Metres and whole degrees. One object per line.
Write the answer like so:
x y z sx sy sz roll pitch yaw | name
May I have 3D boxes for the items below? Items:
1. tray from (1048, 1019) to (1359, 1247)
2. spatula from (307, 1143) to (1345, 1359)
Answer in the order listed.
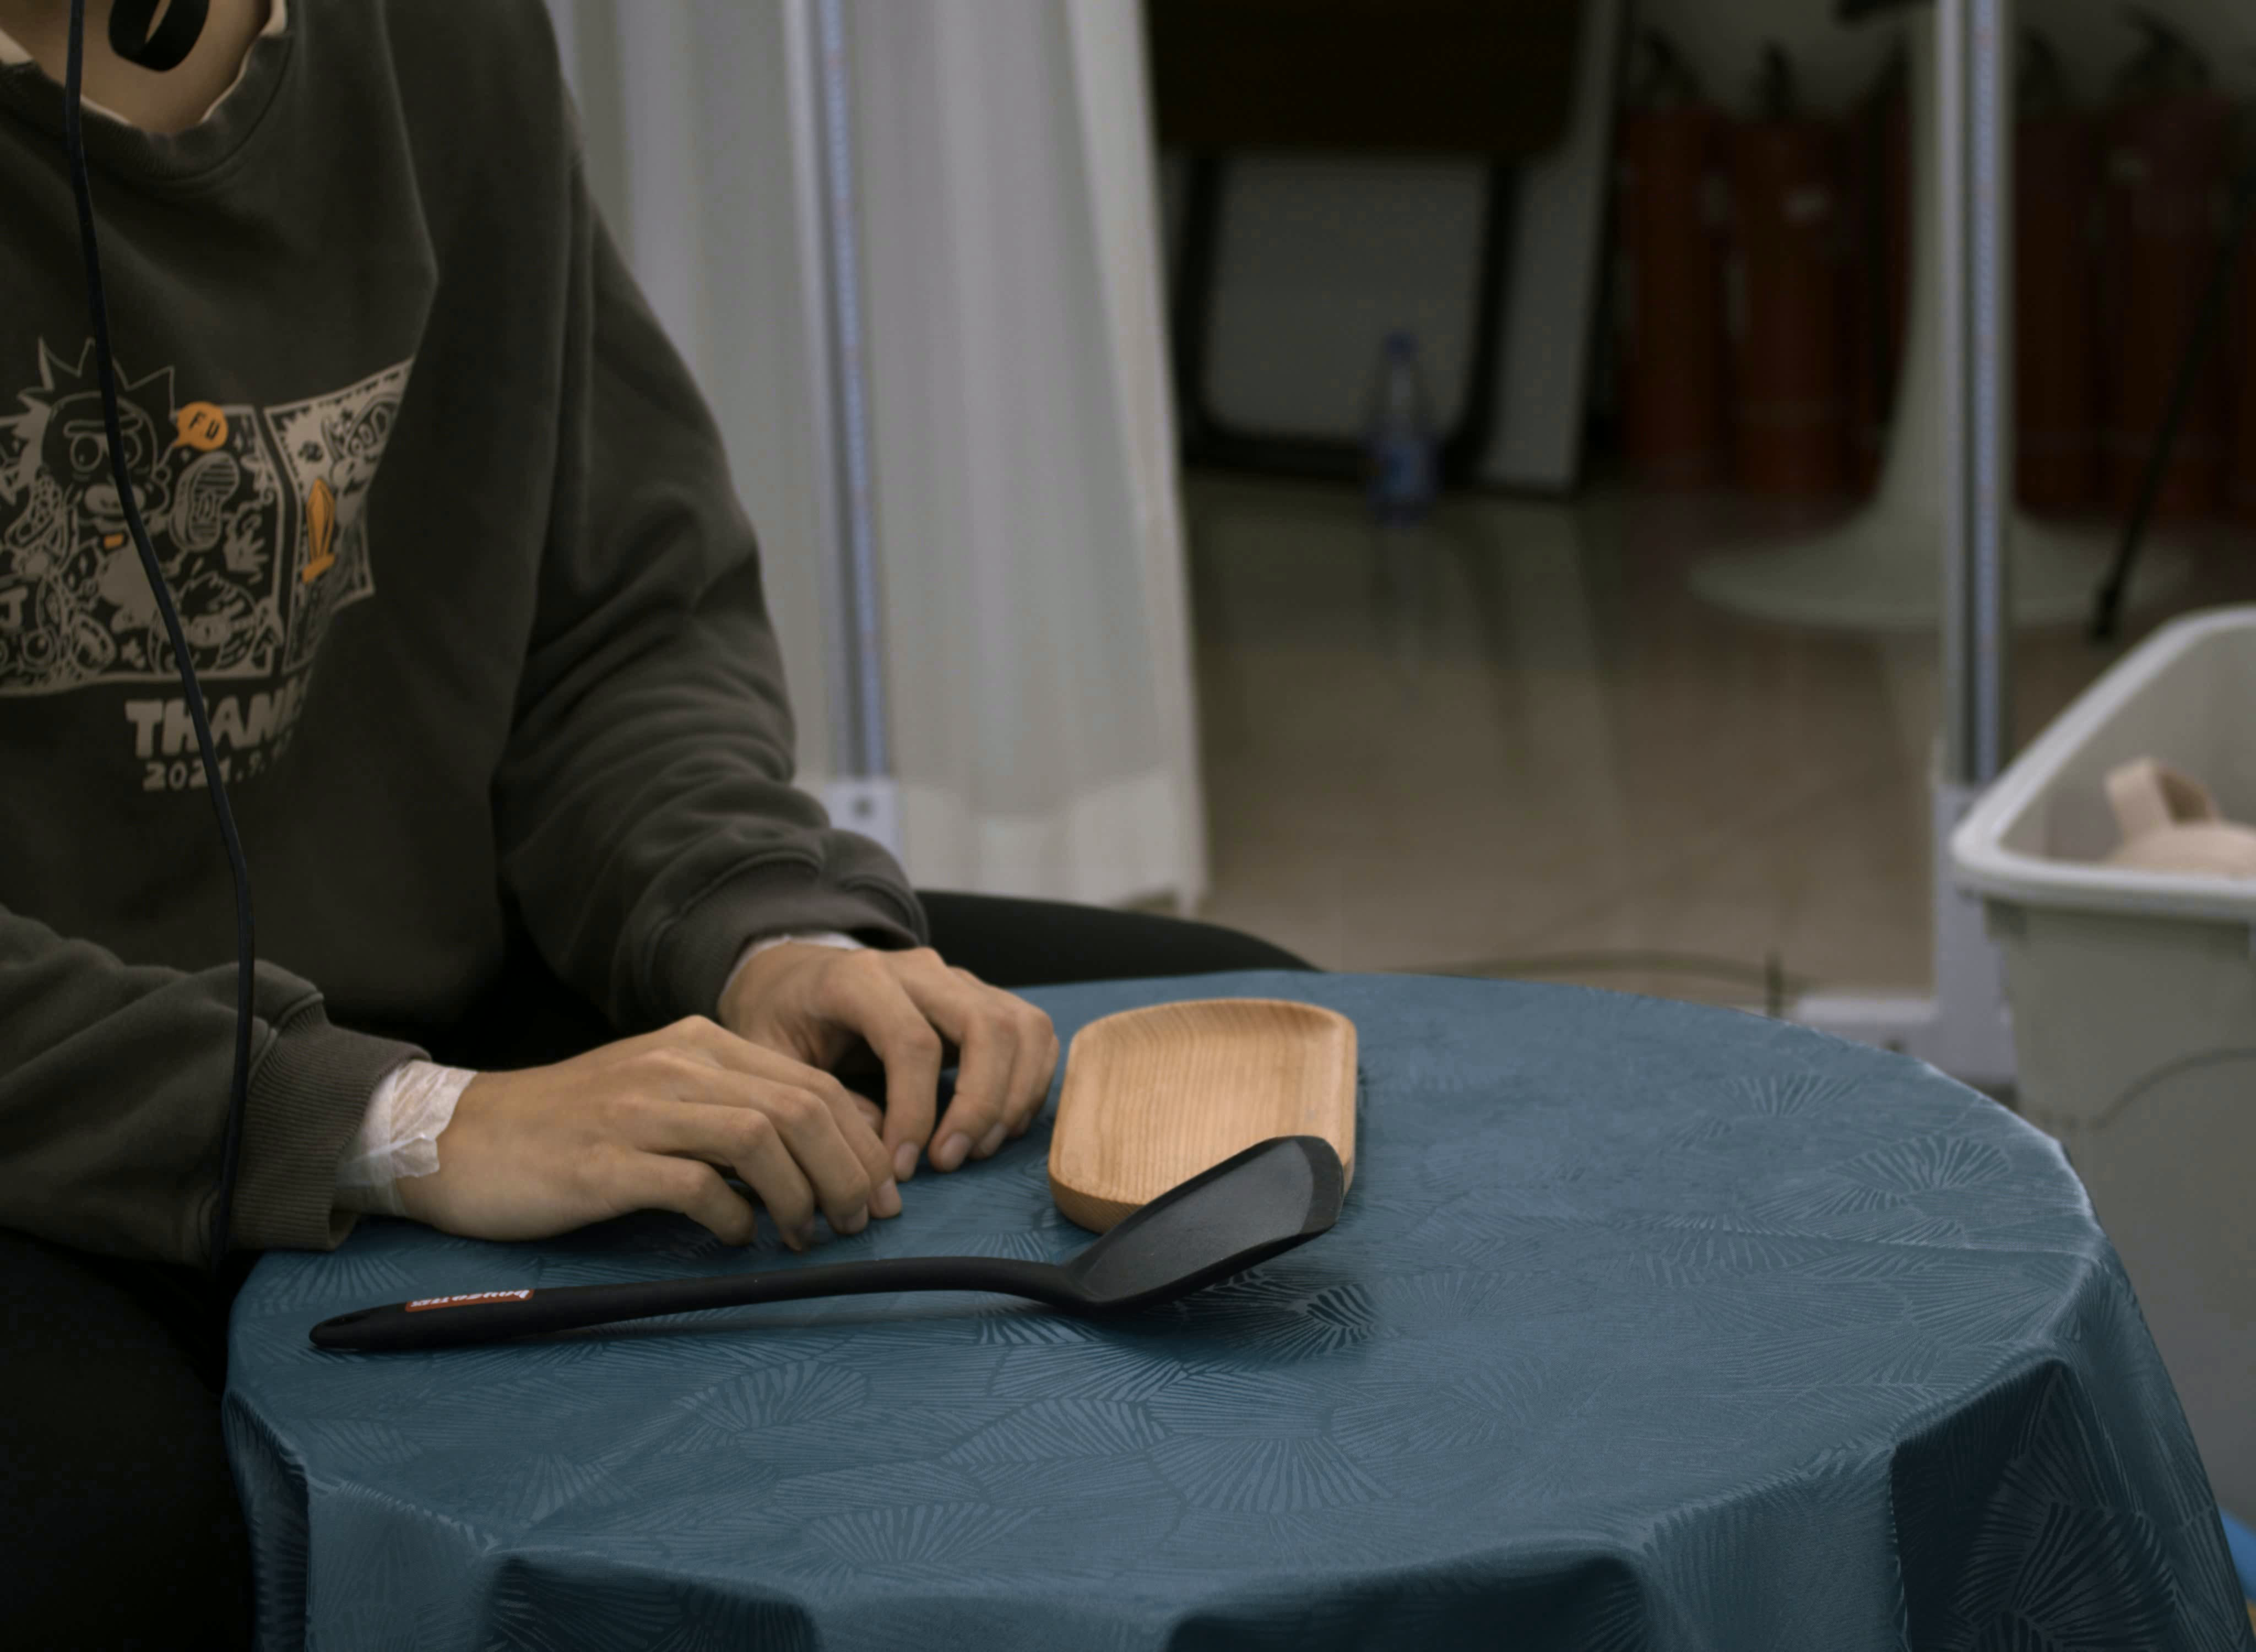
0.028 0.102 1.816 0.100 0.020 0.231 -4 14 4 | tray
-0.093 0.137 1.663 0.322 0.041 0.100 -3 12 2 | spatula
